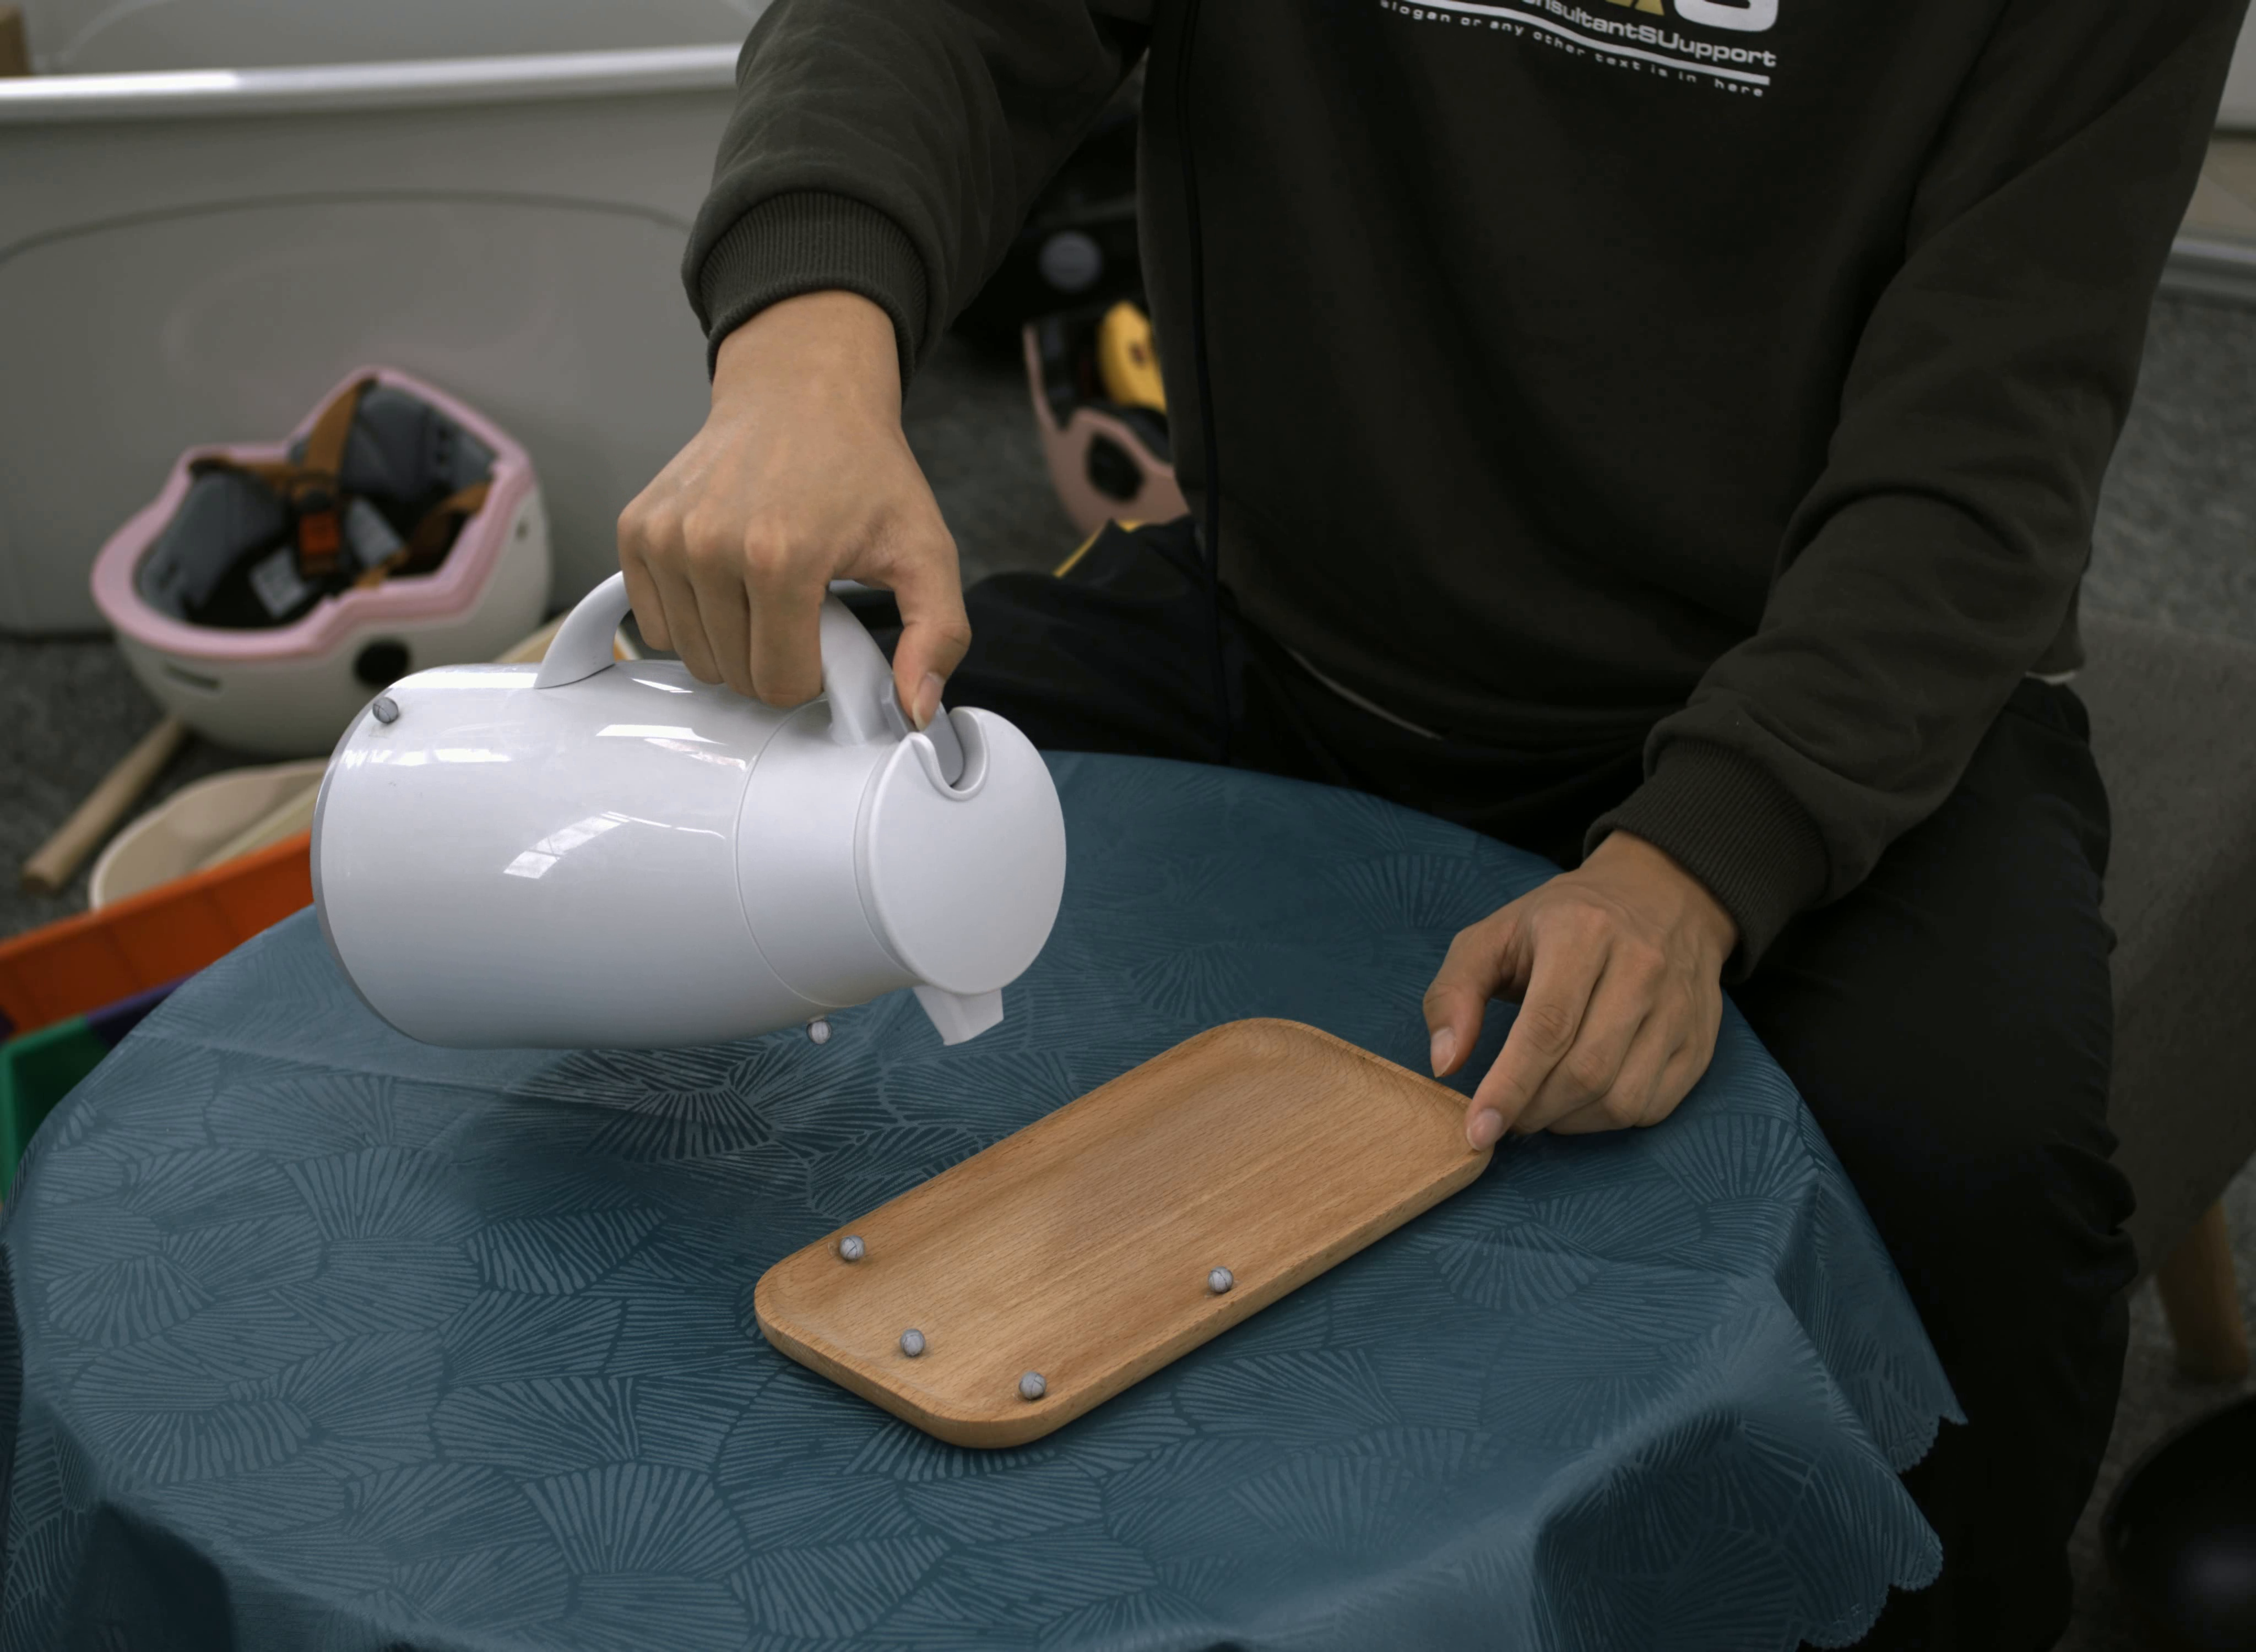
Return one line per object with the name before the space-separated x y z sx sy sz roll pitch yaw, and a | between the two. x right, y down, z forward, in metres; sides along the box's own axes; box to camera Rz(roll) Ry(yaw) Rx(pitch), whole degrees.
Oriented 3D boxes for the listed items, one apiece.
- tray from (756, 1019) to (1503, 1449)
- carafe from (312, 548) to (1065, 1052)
tray | 0.003 0.131 1.830 0.253 0.022 0.130 -25 37 -38
carafe | -0.143 -0.007 1.841 0.246 0.167 0.134 -1 20 41
